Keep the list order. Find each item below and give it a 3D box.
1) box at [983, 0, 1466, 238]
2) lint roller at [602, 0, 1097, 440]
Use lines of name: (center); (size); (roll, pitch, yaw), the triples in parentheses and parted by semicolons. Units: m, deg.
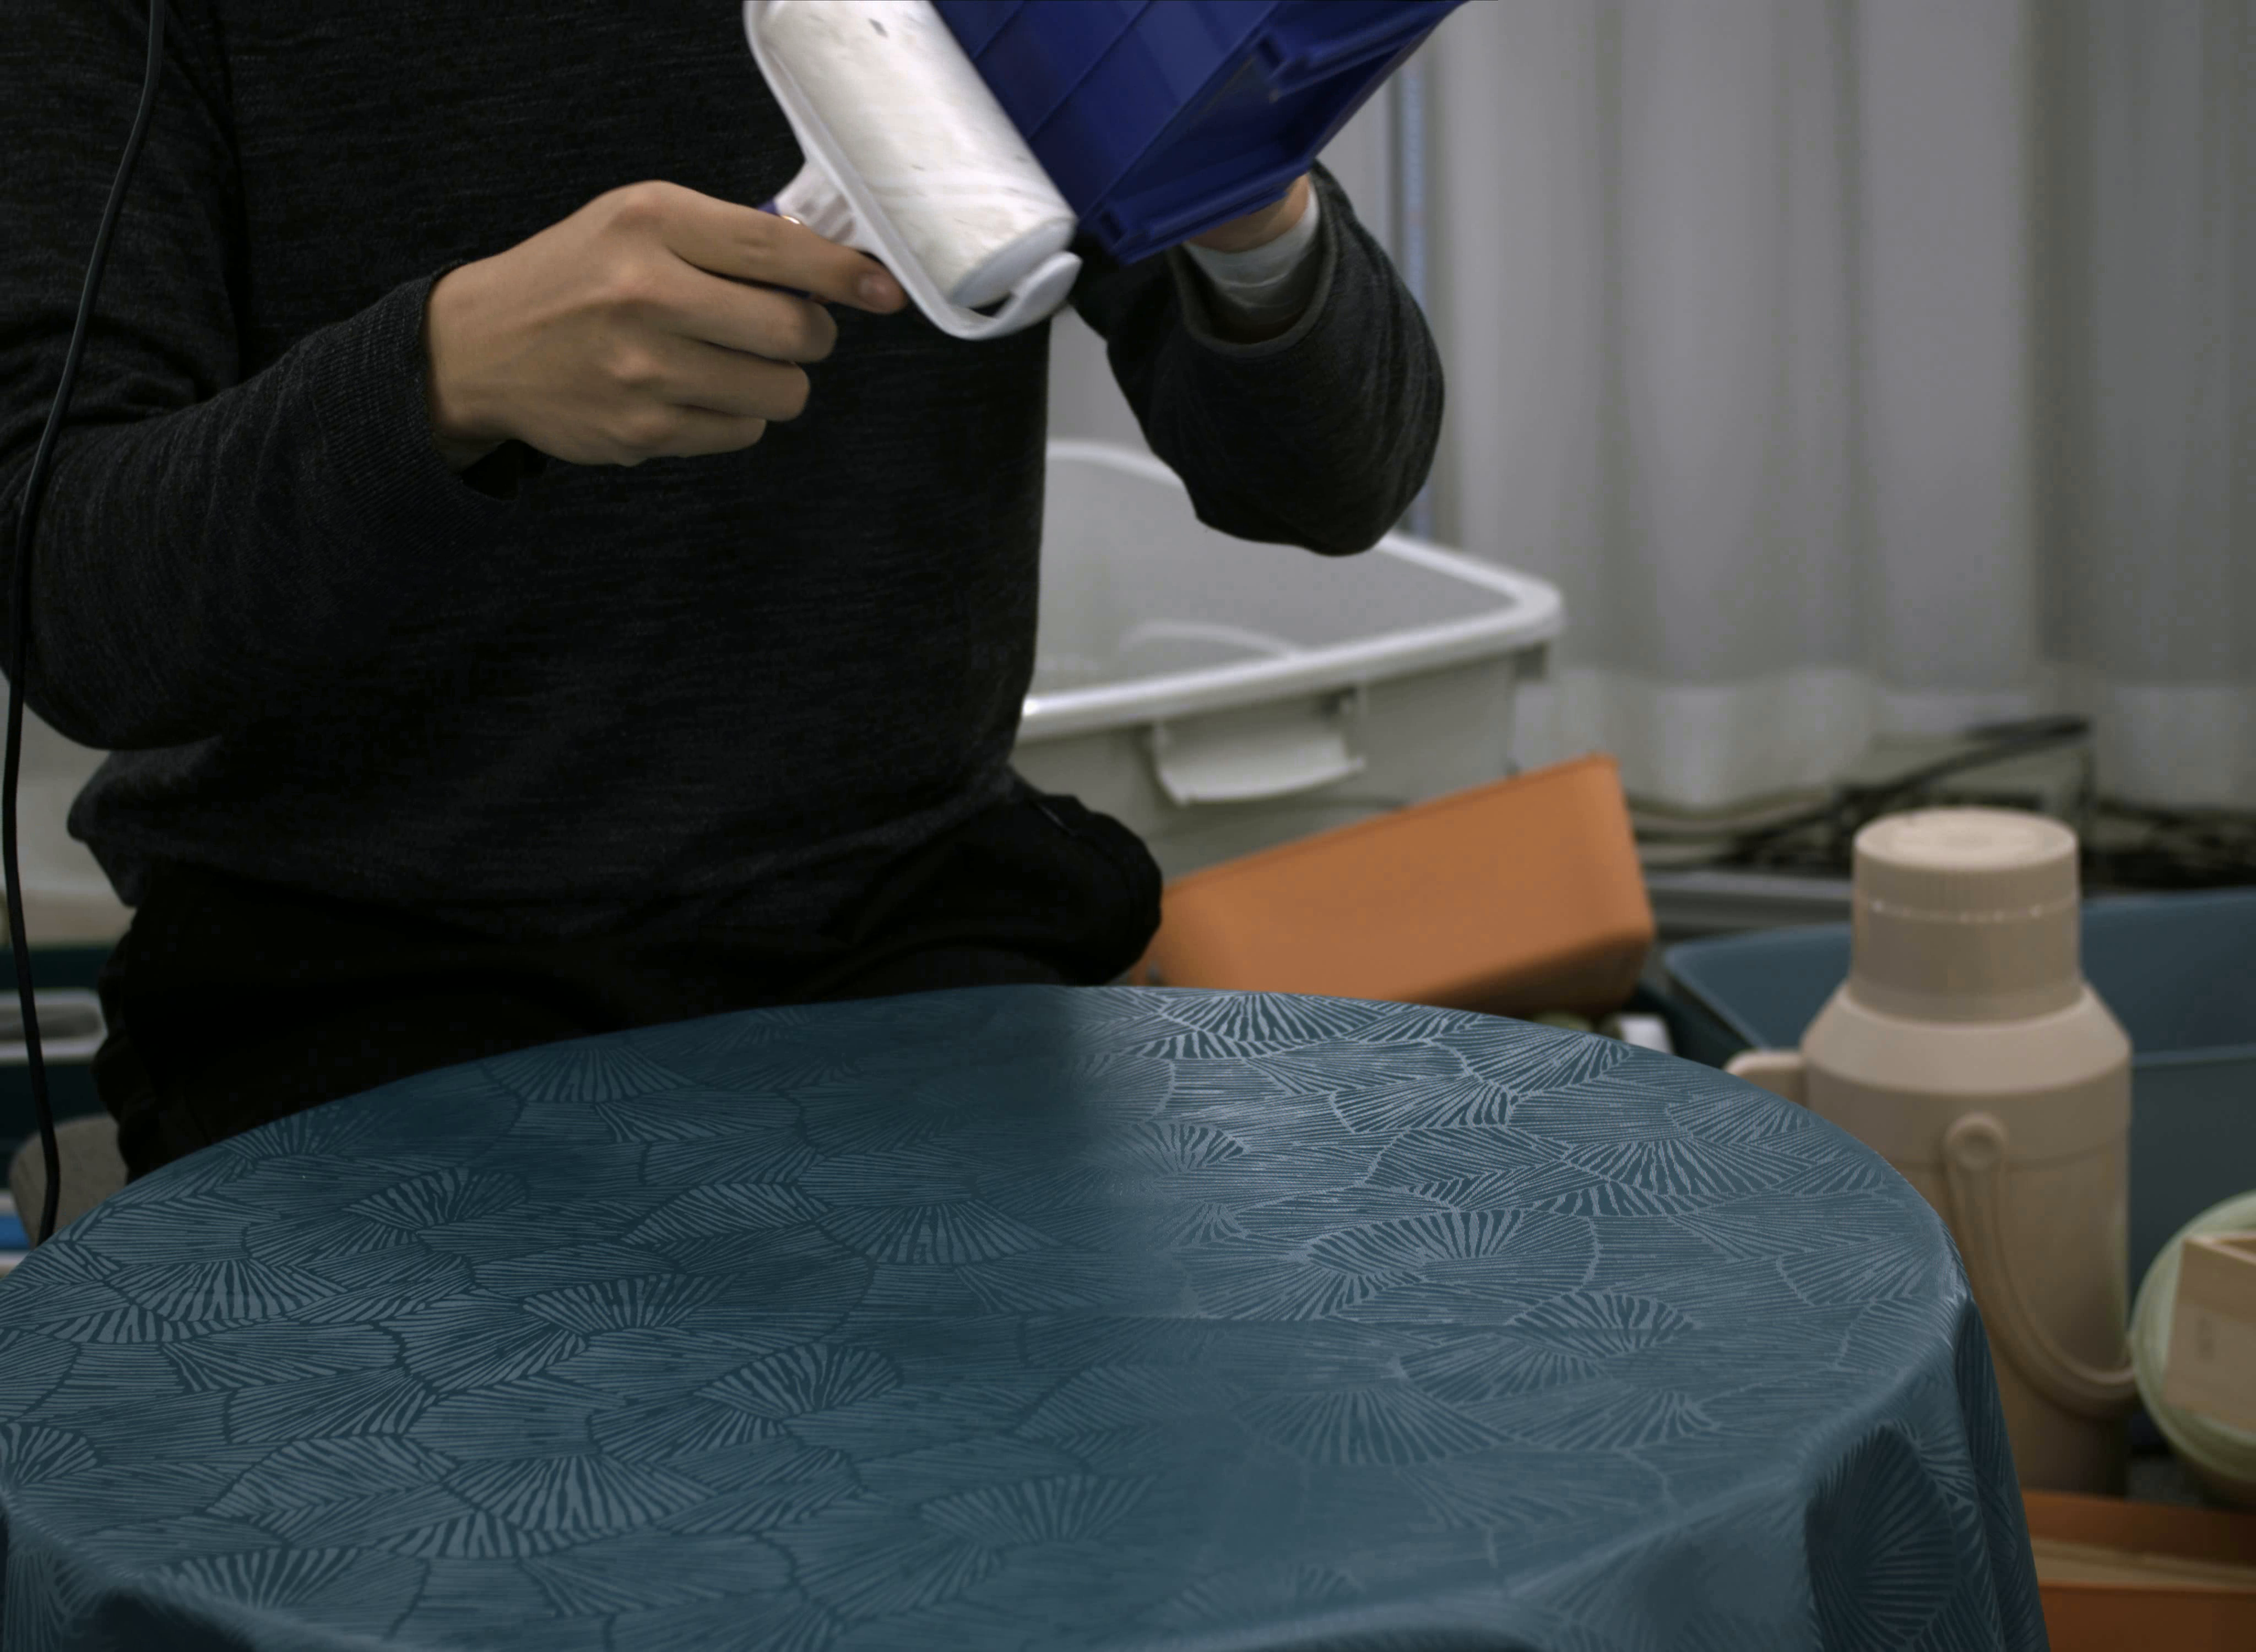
box: (0.034, -0.268, 1.604); (0.082, 0.125, 0.178); (-24, -12, -38)
lint roller: (-0.104, -0.173, 1.652); (0.180, 0.133, 0.050); (-35, -5, 25)
